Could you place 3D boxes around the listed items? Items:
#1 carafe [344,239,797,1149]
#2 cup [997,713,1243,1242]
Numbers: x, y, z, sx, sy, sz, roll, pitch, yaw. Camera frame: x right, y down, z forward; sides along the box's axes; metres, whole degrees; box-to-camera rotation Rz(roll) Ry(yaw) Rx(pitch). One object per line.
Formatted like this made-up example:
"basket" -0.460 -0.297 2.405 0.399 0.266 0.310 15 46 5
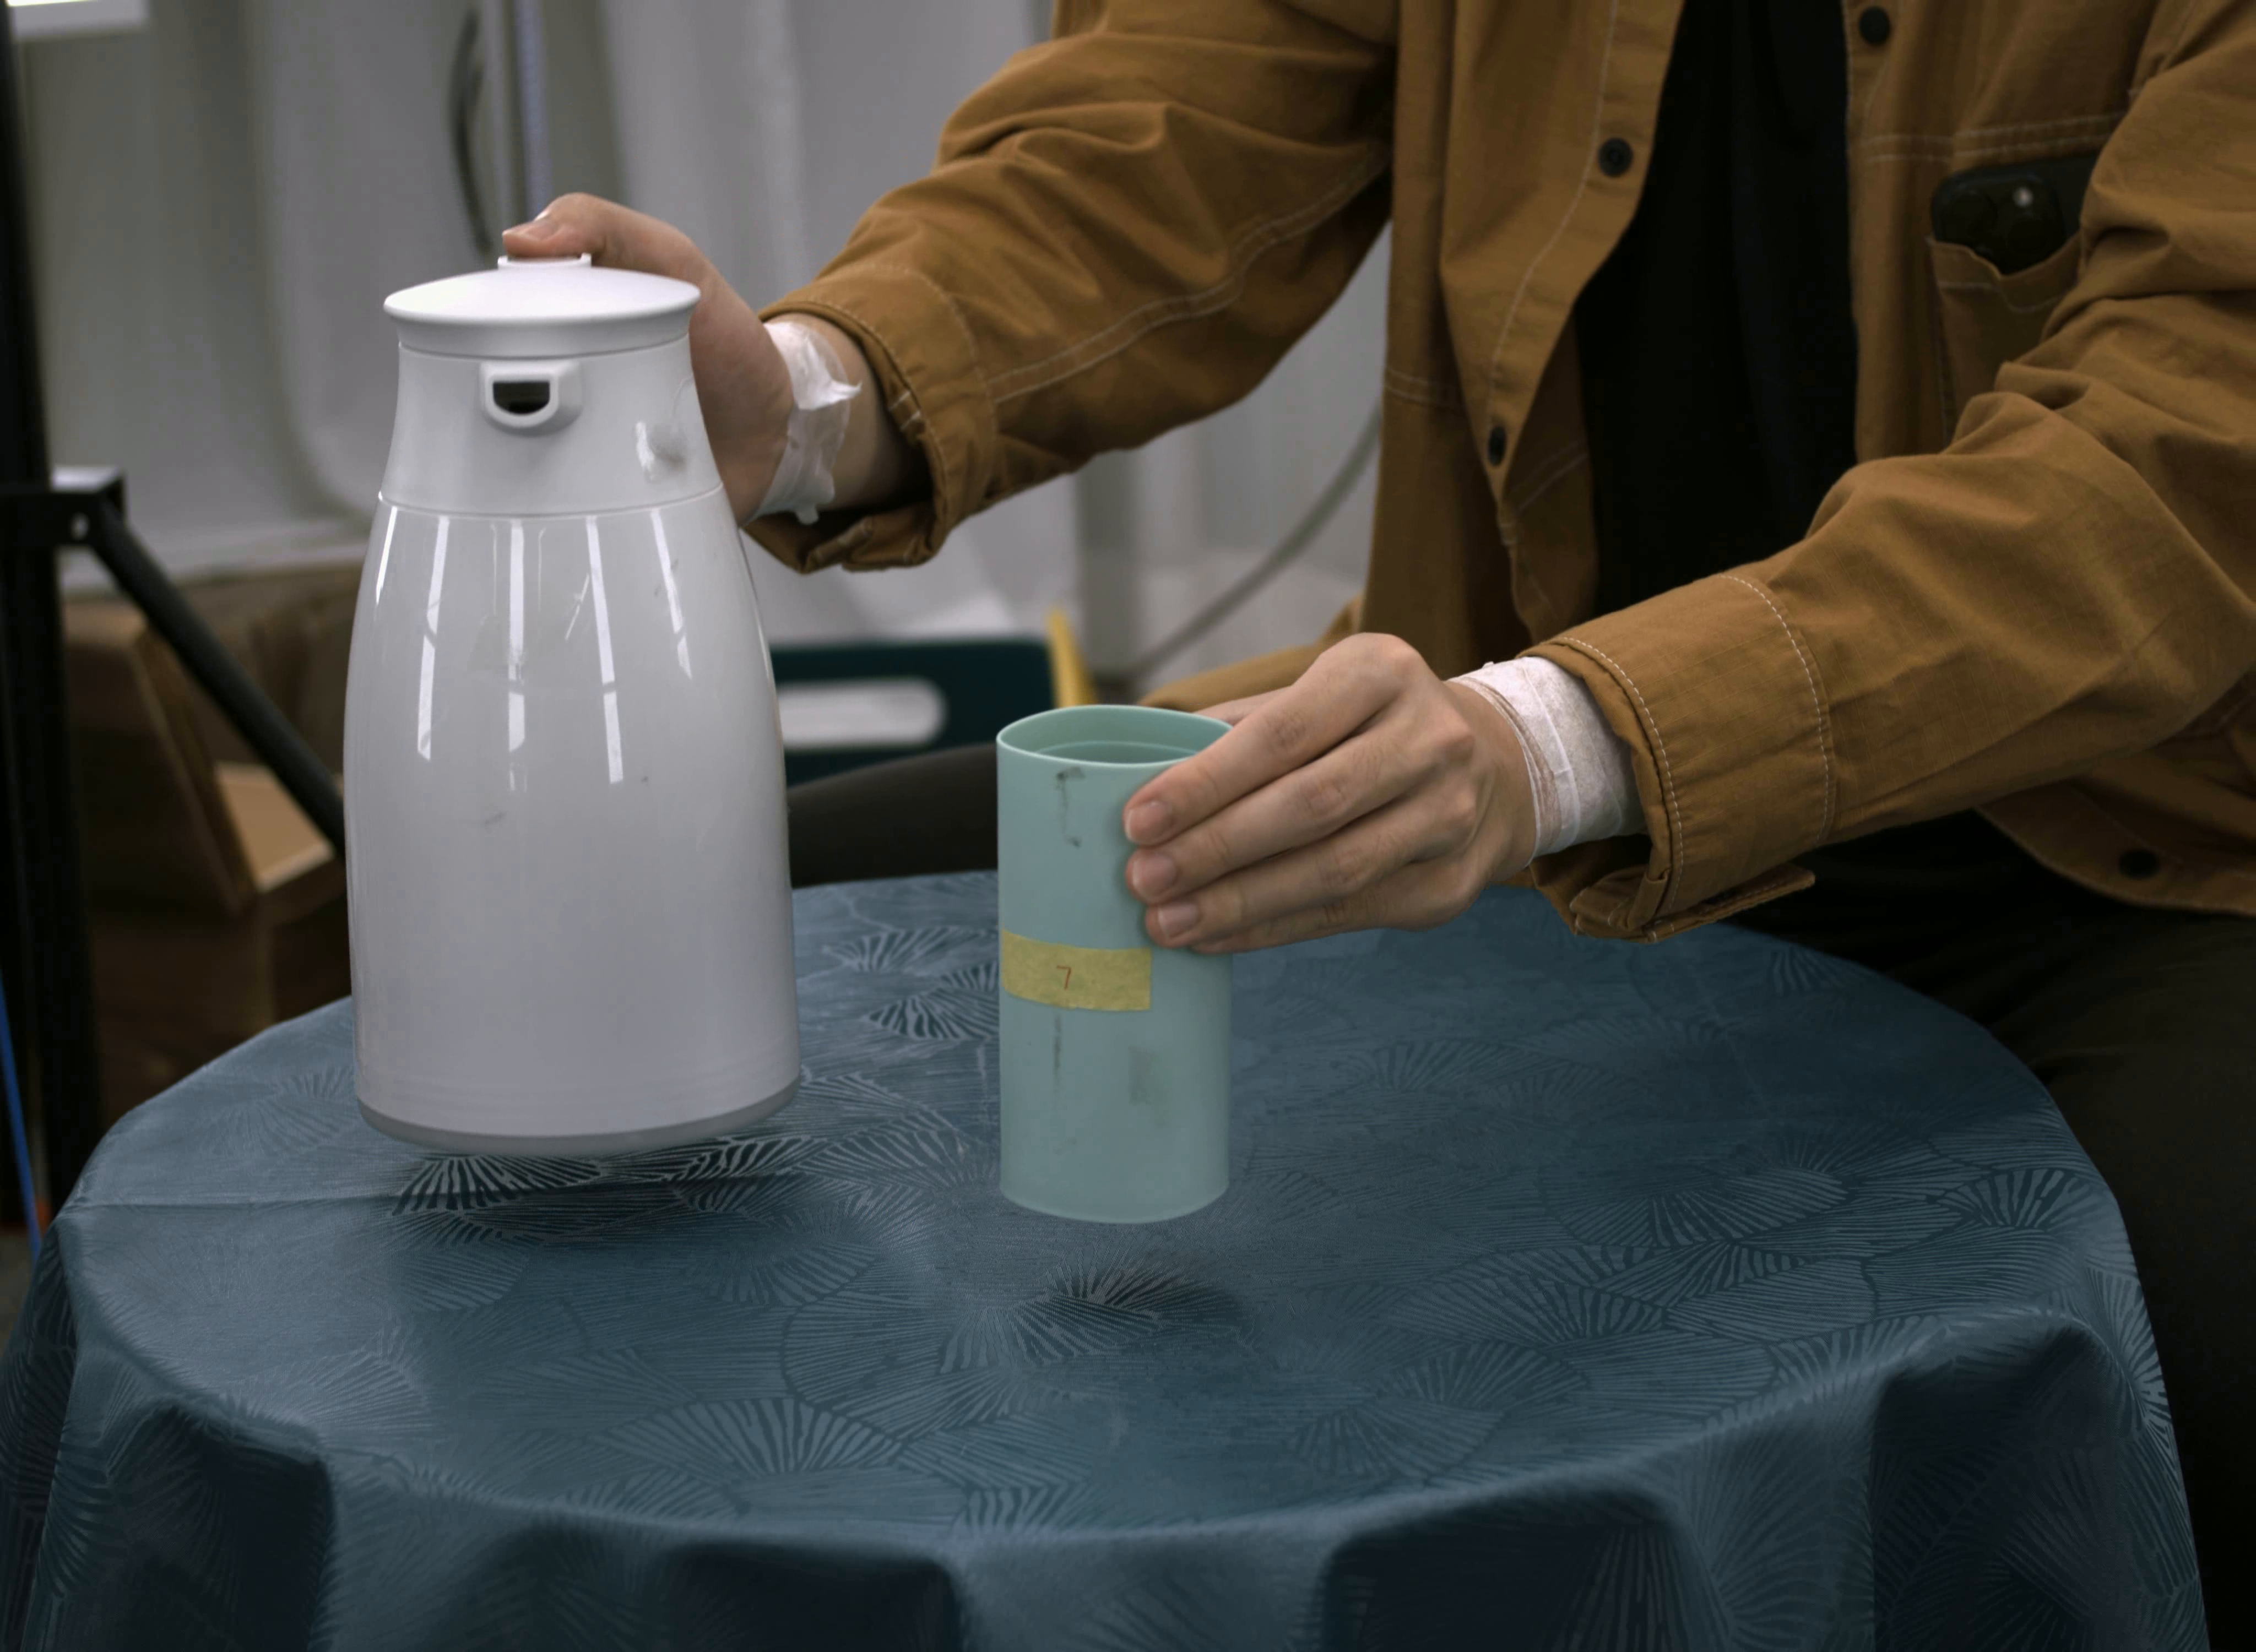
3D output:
"carafe" -0.167 -0.047 1.580 0.132 0.249 0.168 -1 12 0
"cup" -0.002 0.040 1.454 0.066 0.132 0.067 0 15 -2
